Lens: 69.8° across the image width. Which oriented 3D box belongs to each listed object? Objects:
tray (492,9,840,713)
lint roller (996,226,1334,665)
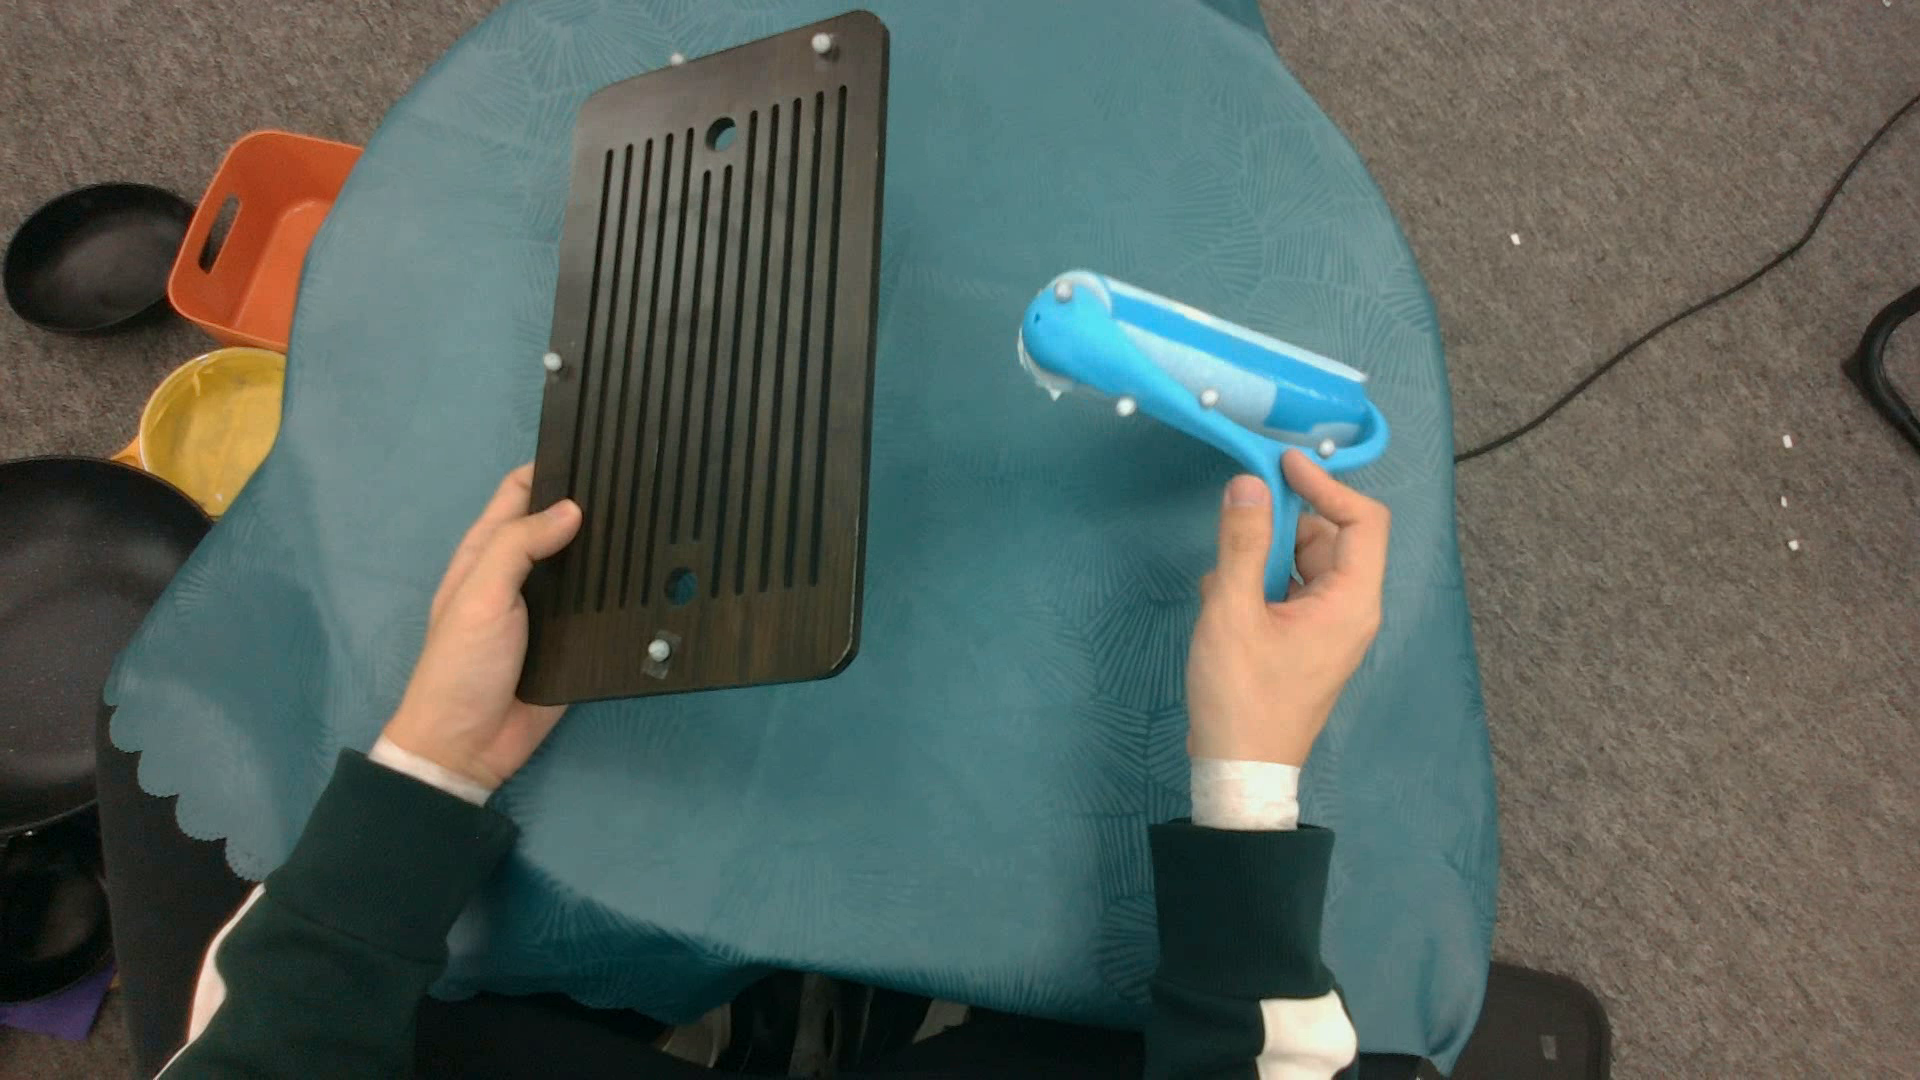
[{"bbox_3d":[-0.125,-0.082,0.605,0.169,0.018,0.307,-11,69,24],"label":"tray"},{"bbox_3d":[0.110,-0.039,0.620,0.229,0.067,0.180,4,68,-52],"label":"lint roller"}]
